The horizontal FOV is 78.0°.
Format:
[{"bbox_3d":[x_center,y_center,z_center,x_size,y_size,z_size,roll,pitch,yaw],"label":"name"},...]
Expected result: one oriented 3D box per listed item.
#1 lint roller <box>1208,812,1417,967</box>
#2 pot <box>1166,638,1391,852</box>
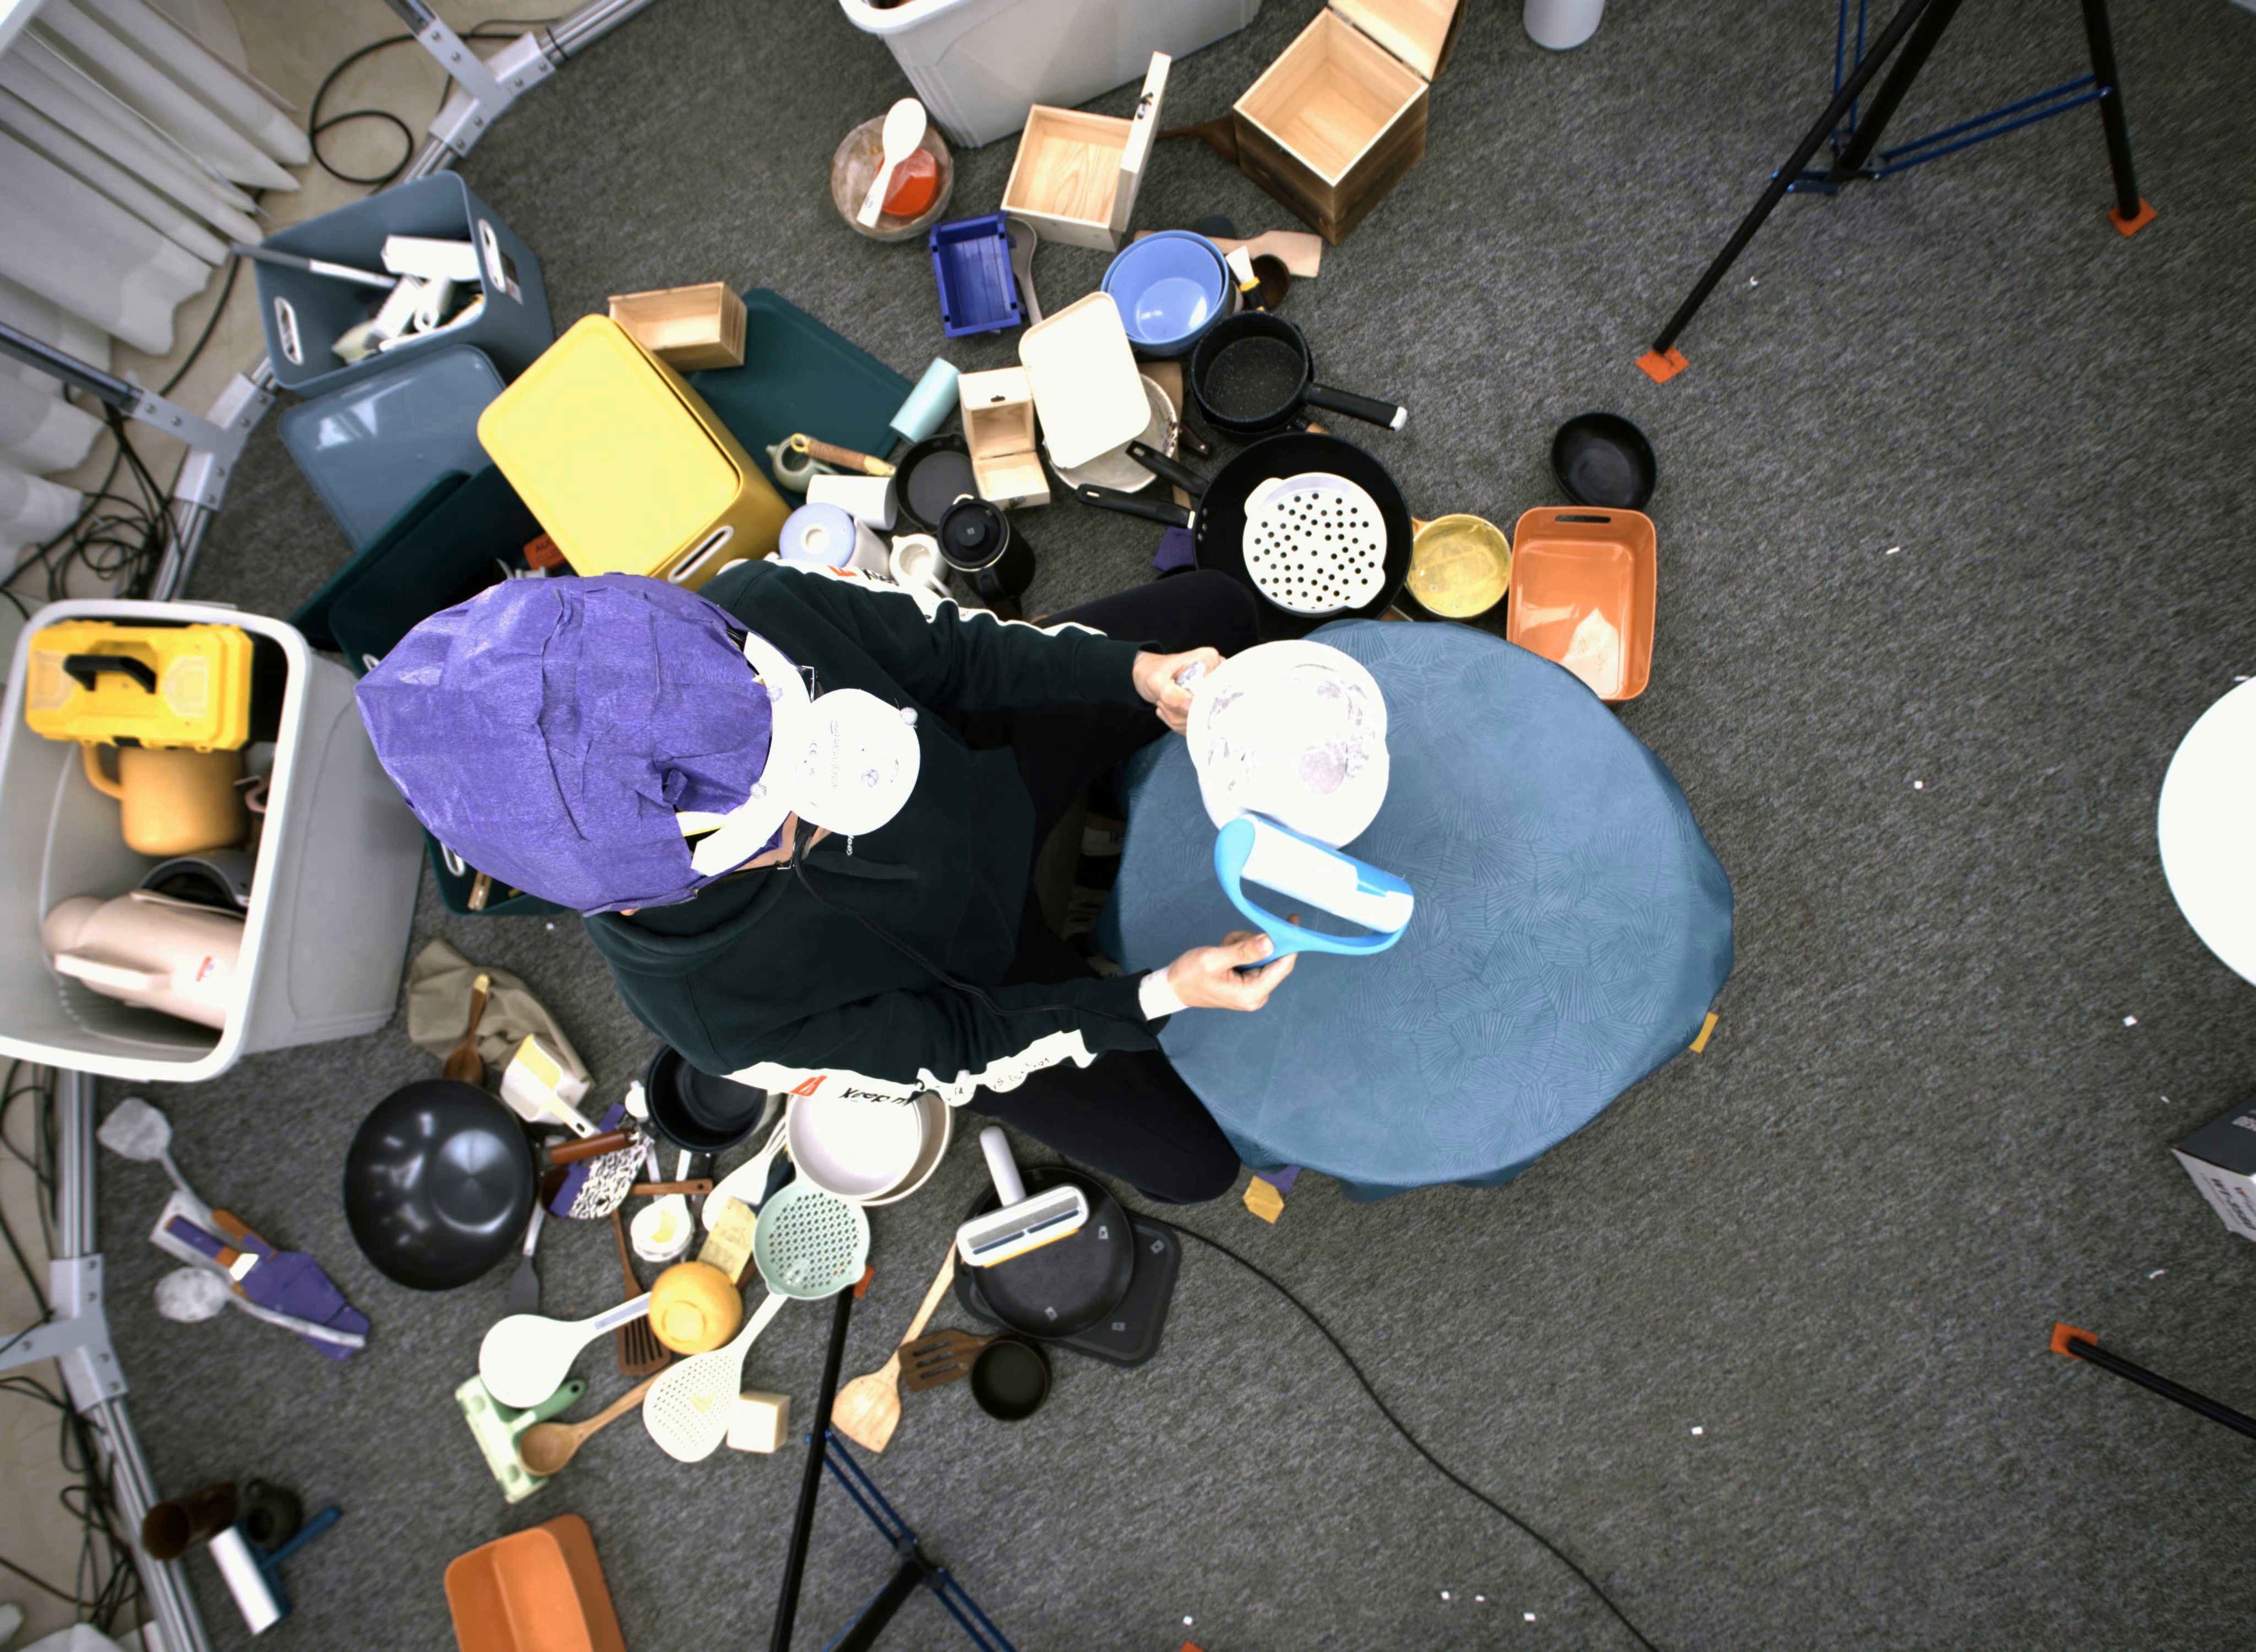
[{"bbox_3d":[0.139,0.083,1.257,0.184,0.229,0.066,-53,37,31],"label":"lint roller"},{"bbox_3d":[0.128,-0.078,1.273,0.232,0.139,0.177,34,76,22],"label":"pot"}]
